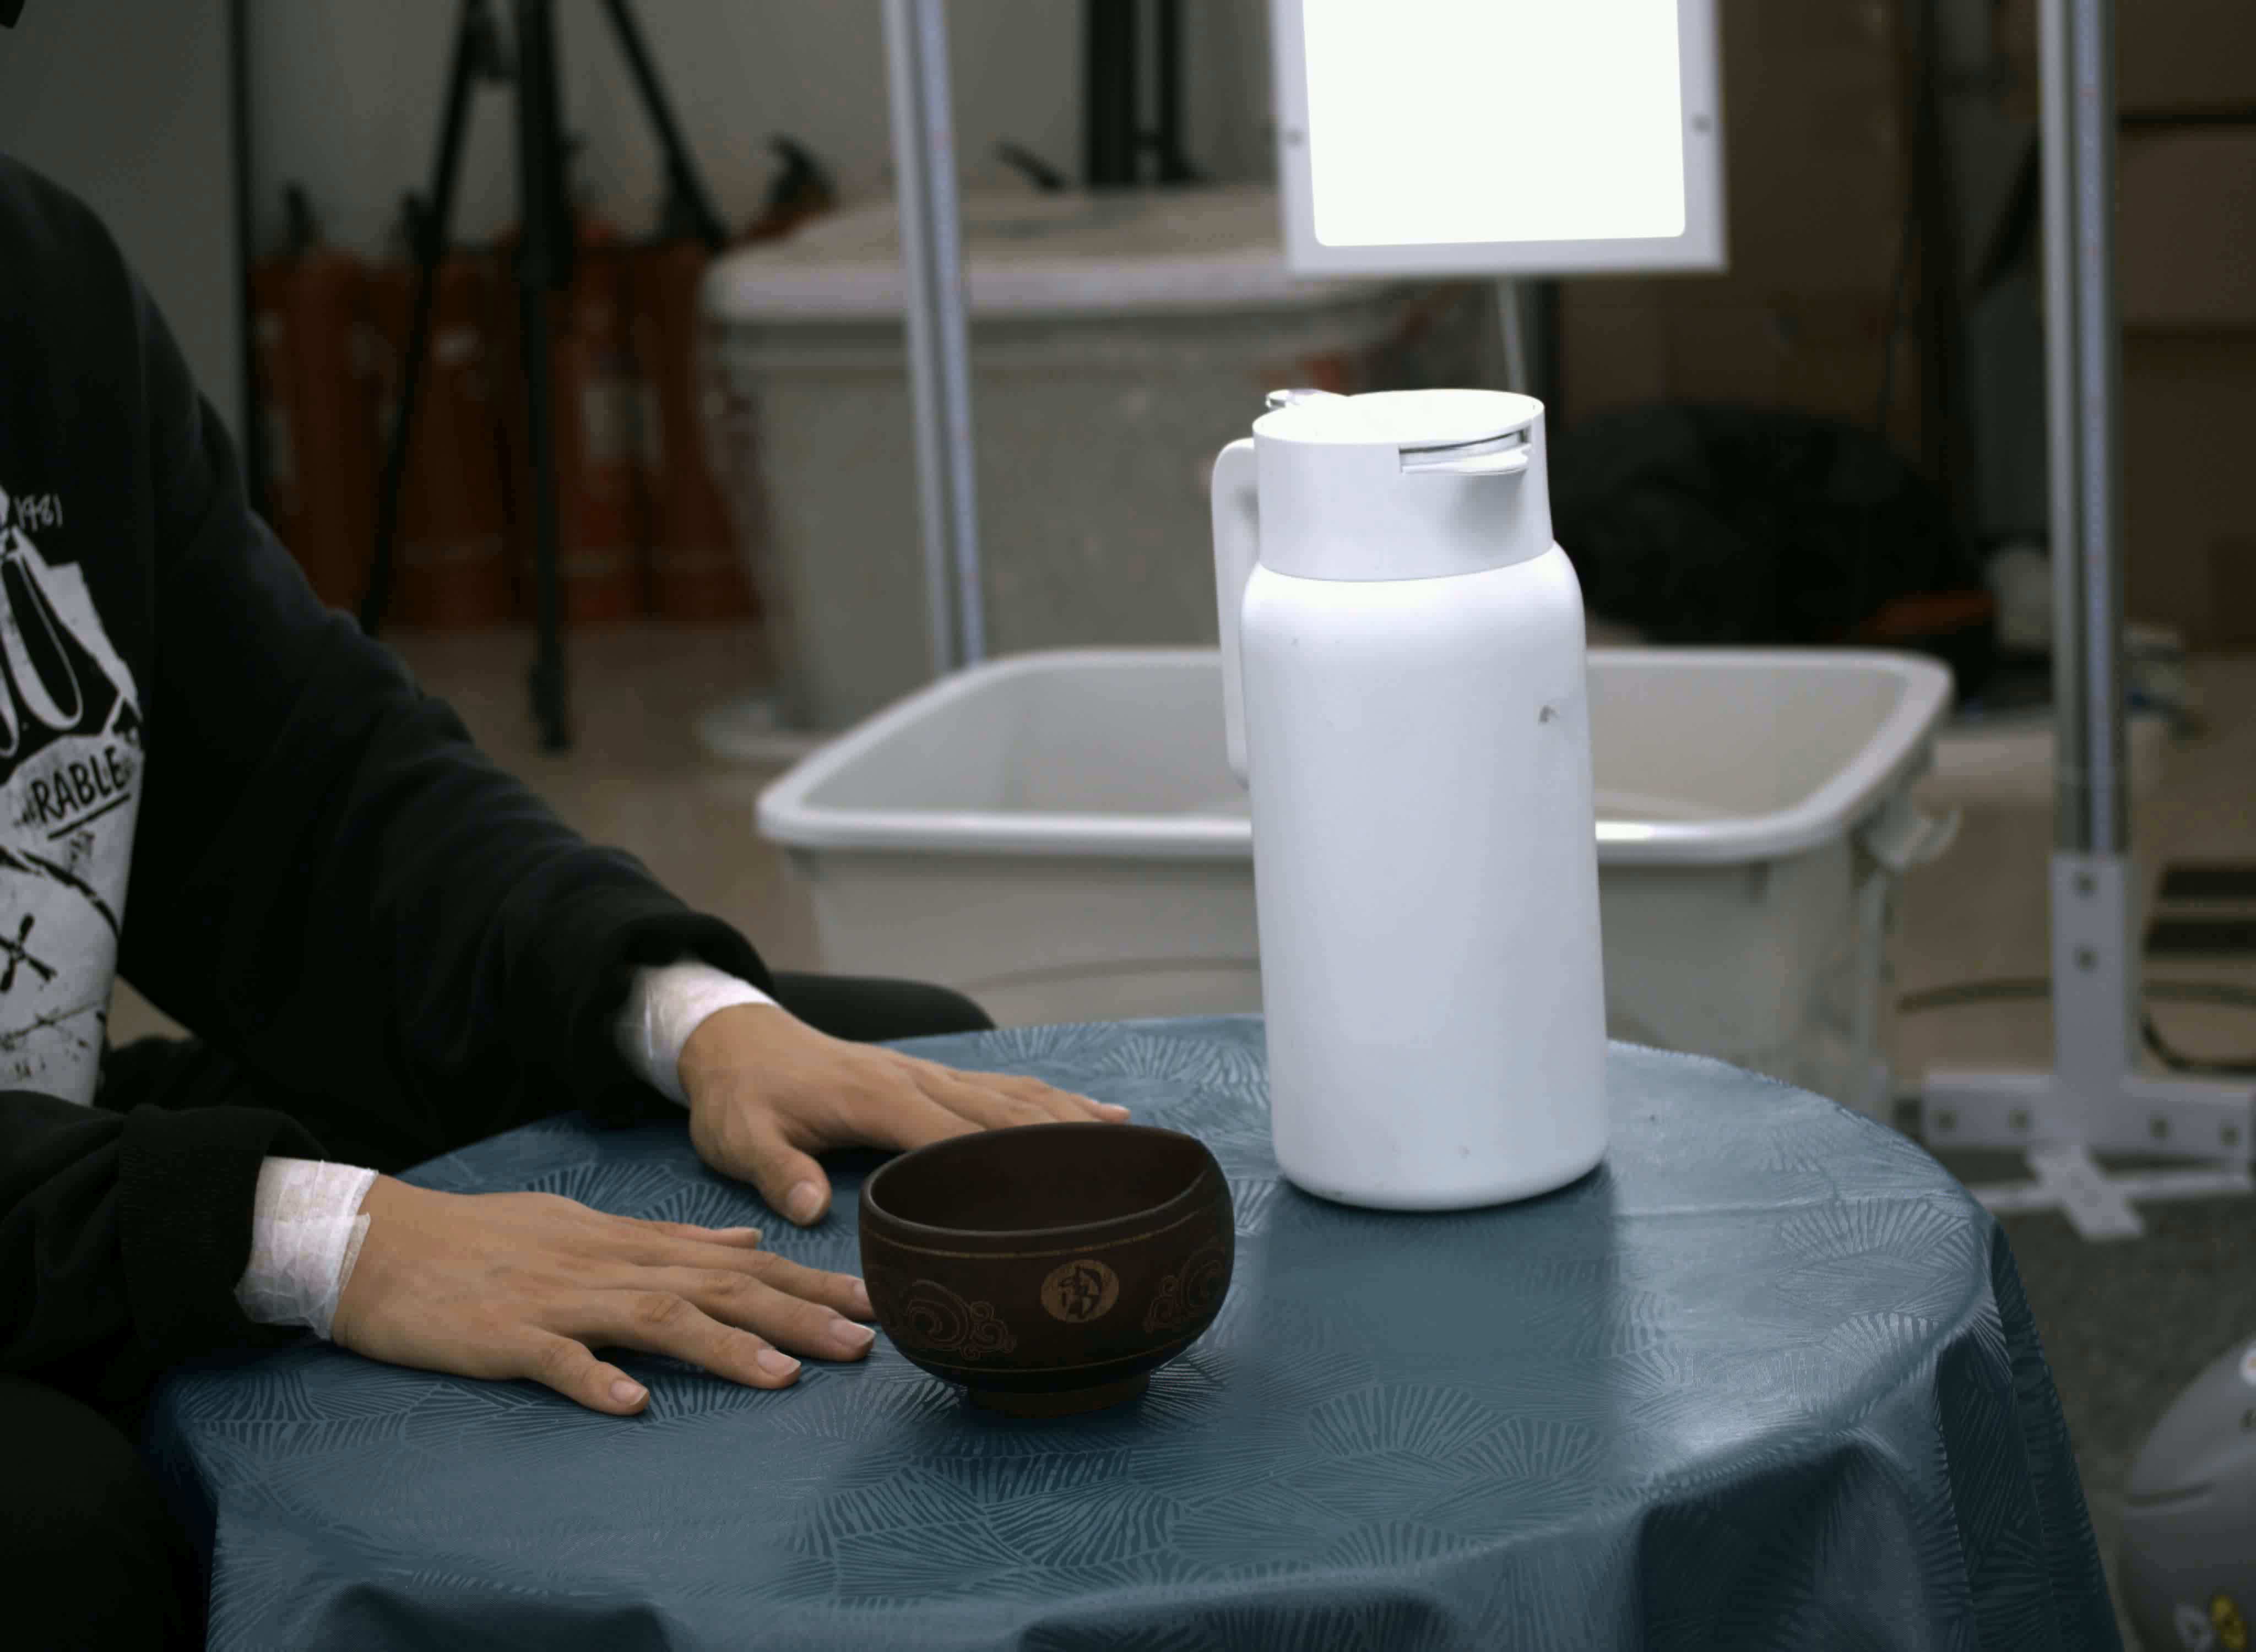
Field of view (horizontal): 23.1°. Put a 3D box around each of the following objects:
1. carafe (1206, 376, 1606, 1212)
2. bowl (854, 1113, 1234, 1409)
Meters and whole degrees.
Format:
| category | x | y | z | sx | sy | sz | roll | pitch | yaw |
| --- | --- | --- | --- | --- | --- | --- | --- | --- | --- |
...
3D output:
| category | x | y | z | sx | sy | sz | roll | pitch | yaw |
| --- | --- | --- | --- | --- | --- | --- | --- | --- | --- |
| carafe | 0.088 | -0.013 | 1.876 | 0.121 | 0.270 | 0.176 | -15 | 17 | -29 |
| bowl | -0.024 | 0.138 | 1.704 | 0.118 | 0.070 | 0.118 | -5 | 14 | 0 |
